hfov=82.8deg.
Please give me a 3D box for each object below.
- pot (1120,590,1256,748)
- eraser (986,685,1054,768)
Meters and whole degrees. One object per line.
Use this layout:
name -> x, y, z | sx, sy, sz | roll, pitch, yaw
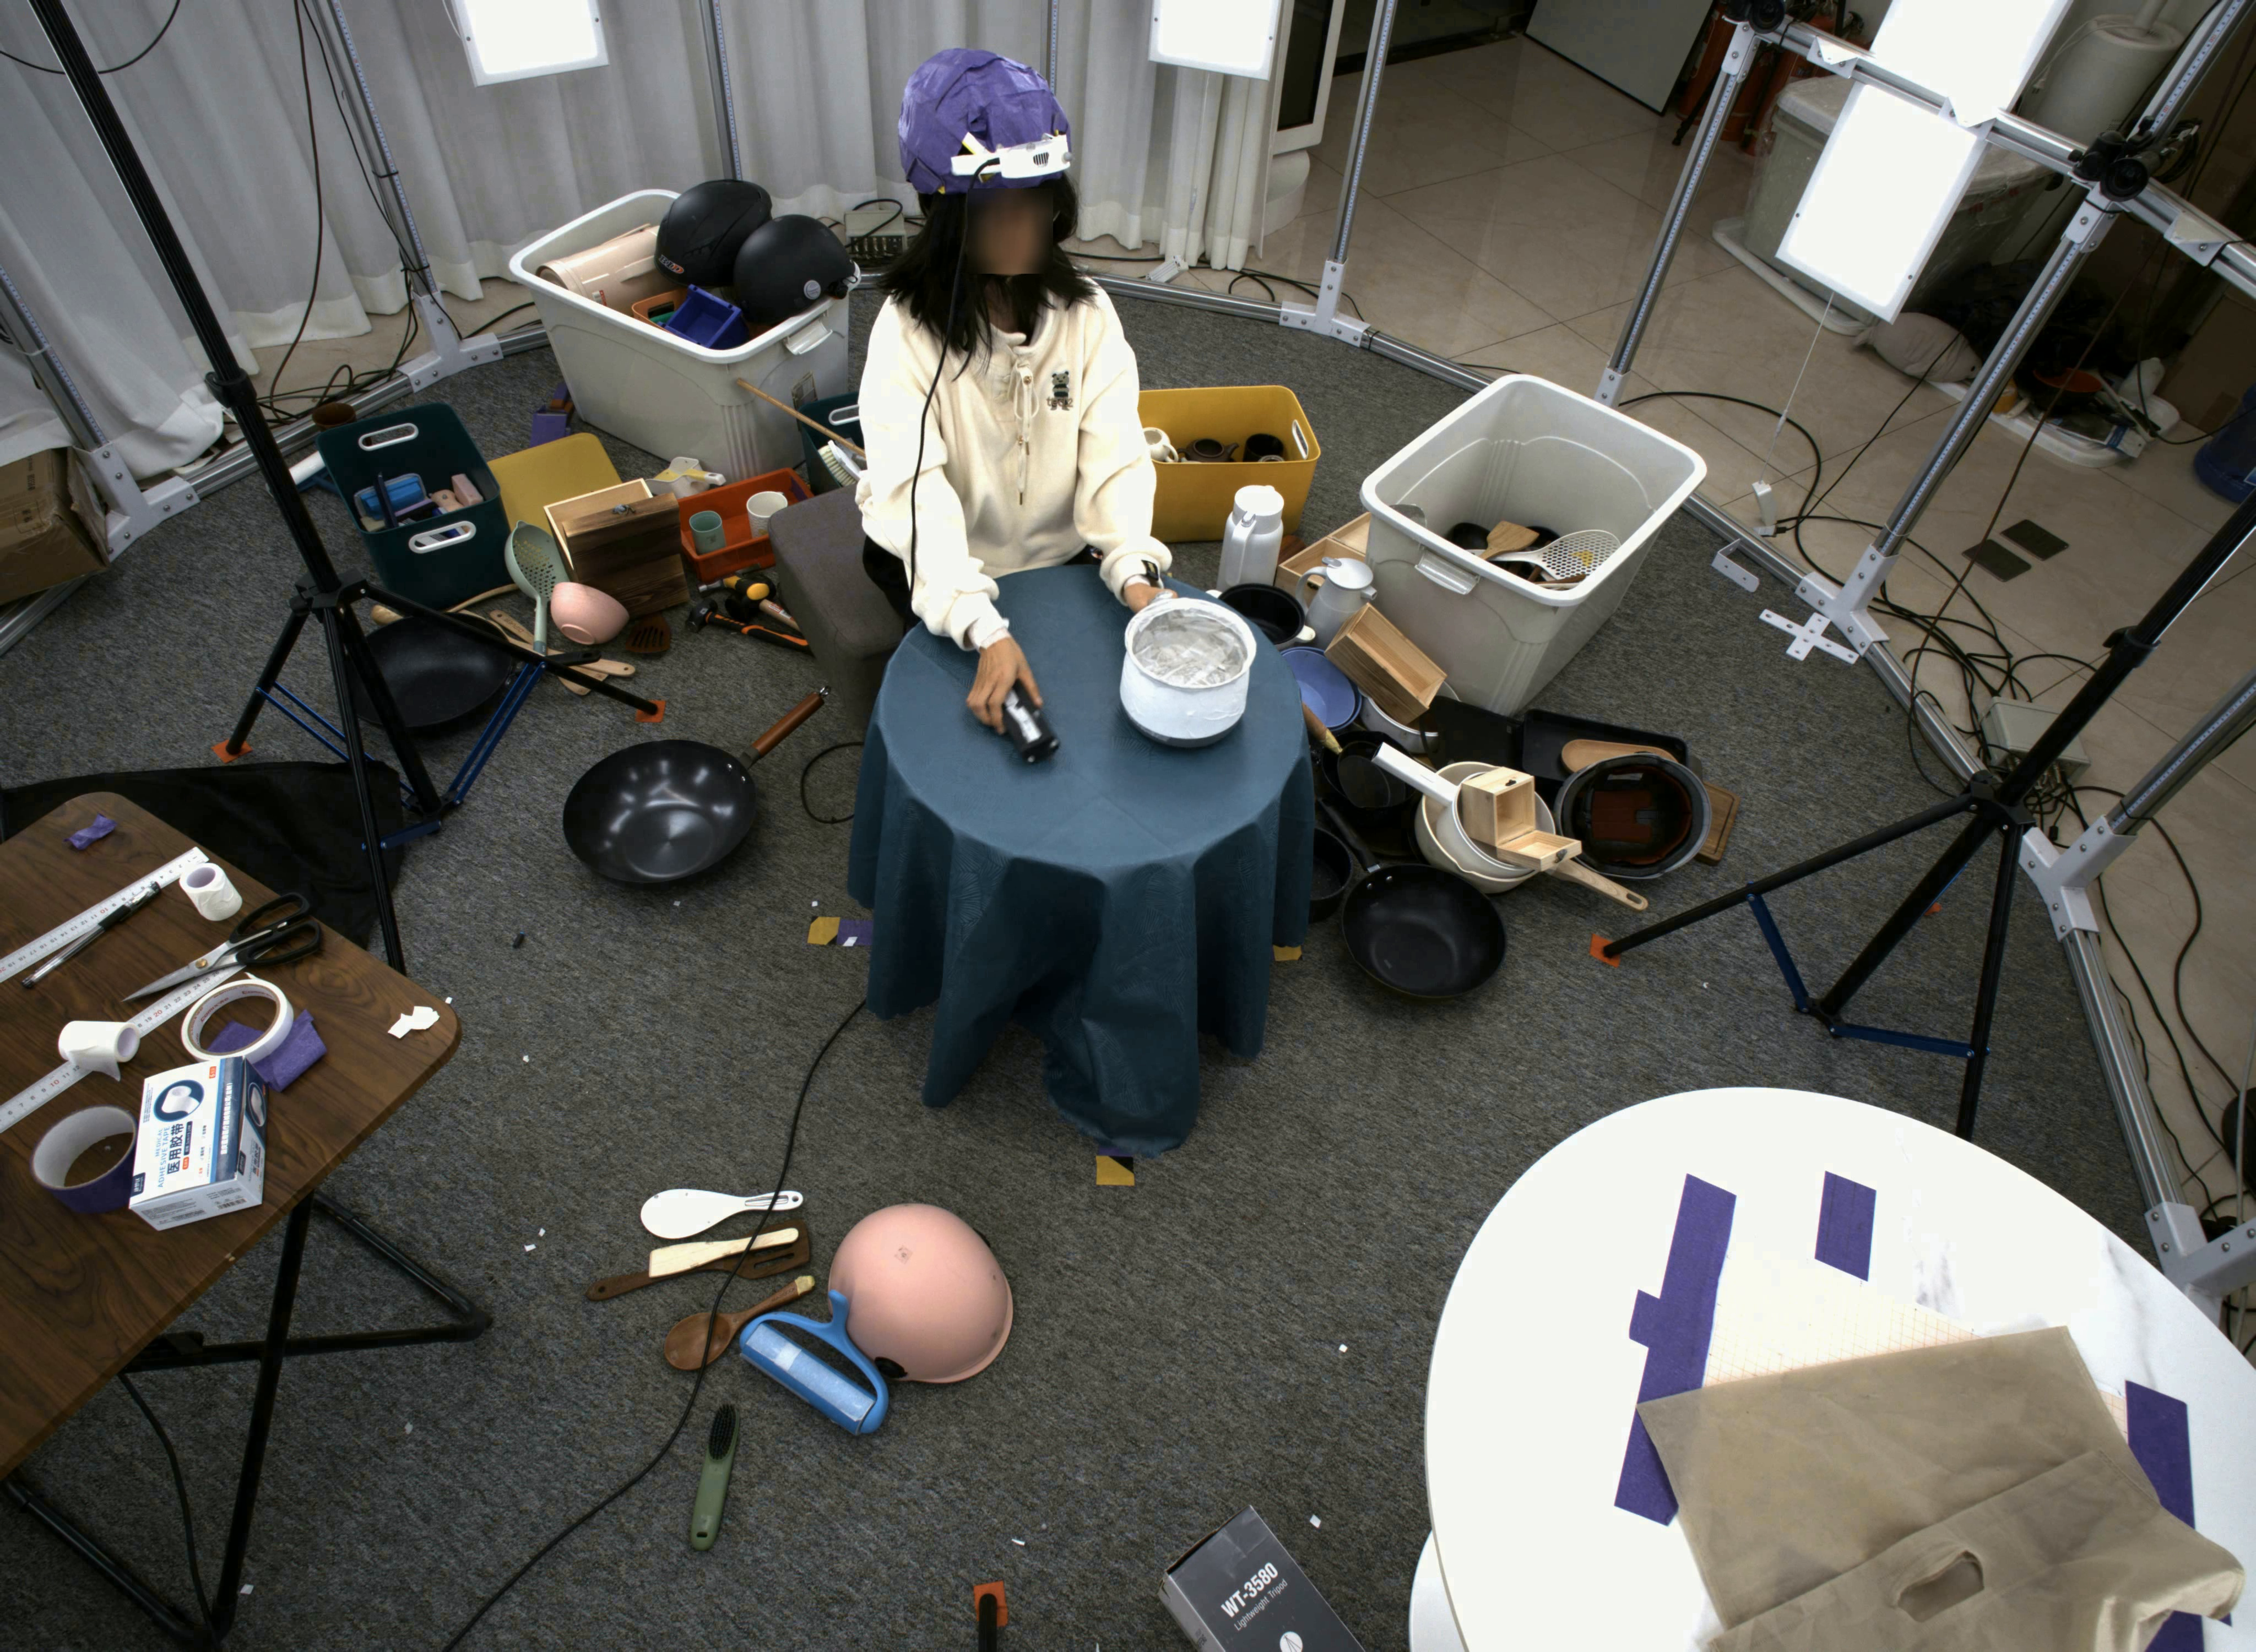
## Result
pot -> 0.070, -0.227, 1.781 | 0.178, 0.133, 0.239 | -12, 52, -15
eraser -> -0.147, -0.138, 1.753 | 0.053, 0.030, 0.128 | -23, 53, -8
